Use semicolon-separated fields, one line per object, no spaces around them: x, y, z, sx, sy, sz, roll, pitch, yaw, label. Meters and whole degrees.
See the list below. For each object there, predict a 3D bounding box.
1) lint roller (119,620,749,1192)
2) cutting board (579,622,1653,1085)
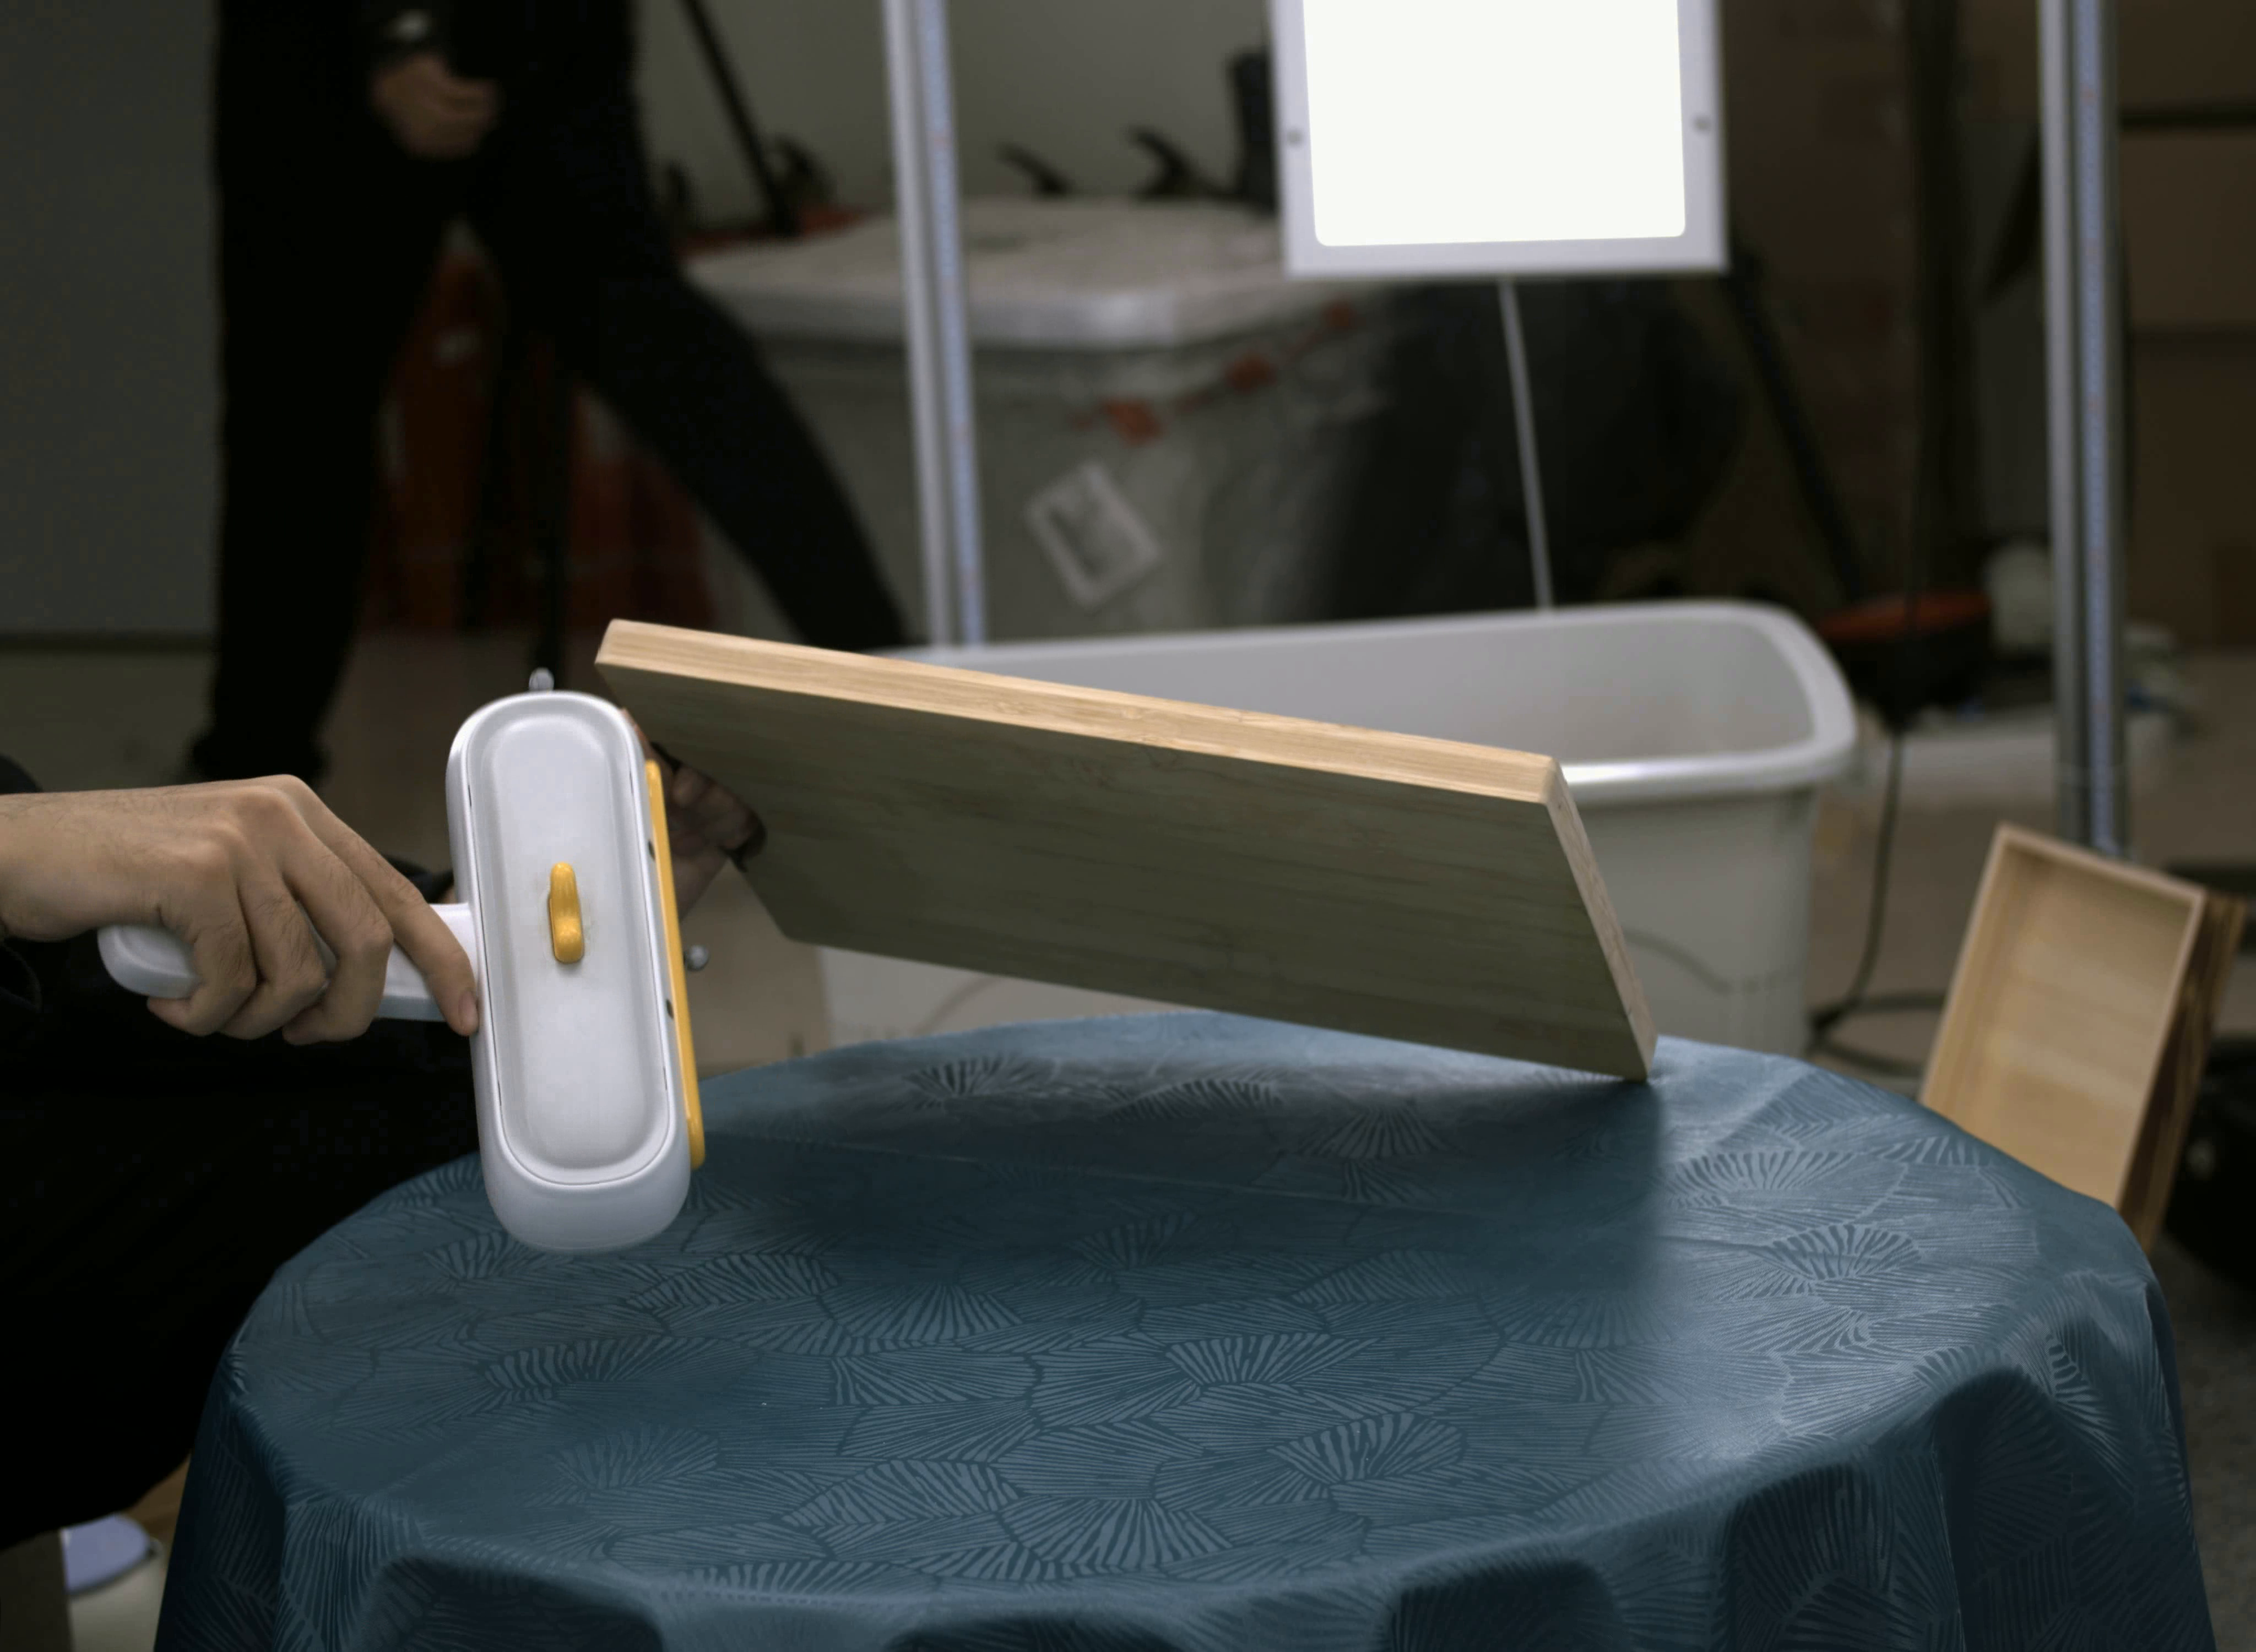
-0.228;0.031;1.766;0.190;0.193;0.075;-10;-16;-14;lint roller
-0.001;0.011;1.933;0.353;0.023;0.249;9;-23;19;cutting board
